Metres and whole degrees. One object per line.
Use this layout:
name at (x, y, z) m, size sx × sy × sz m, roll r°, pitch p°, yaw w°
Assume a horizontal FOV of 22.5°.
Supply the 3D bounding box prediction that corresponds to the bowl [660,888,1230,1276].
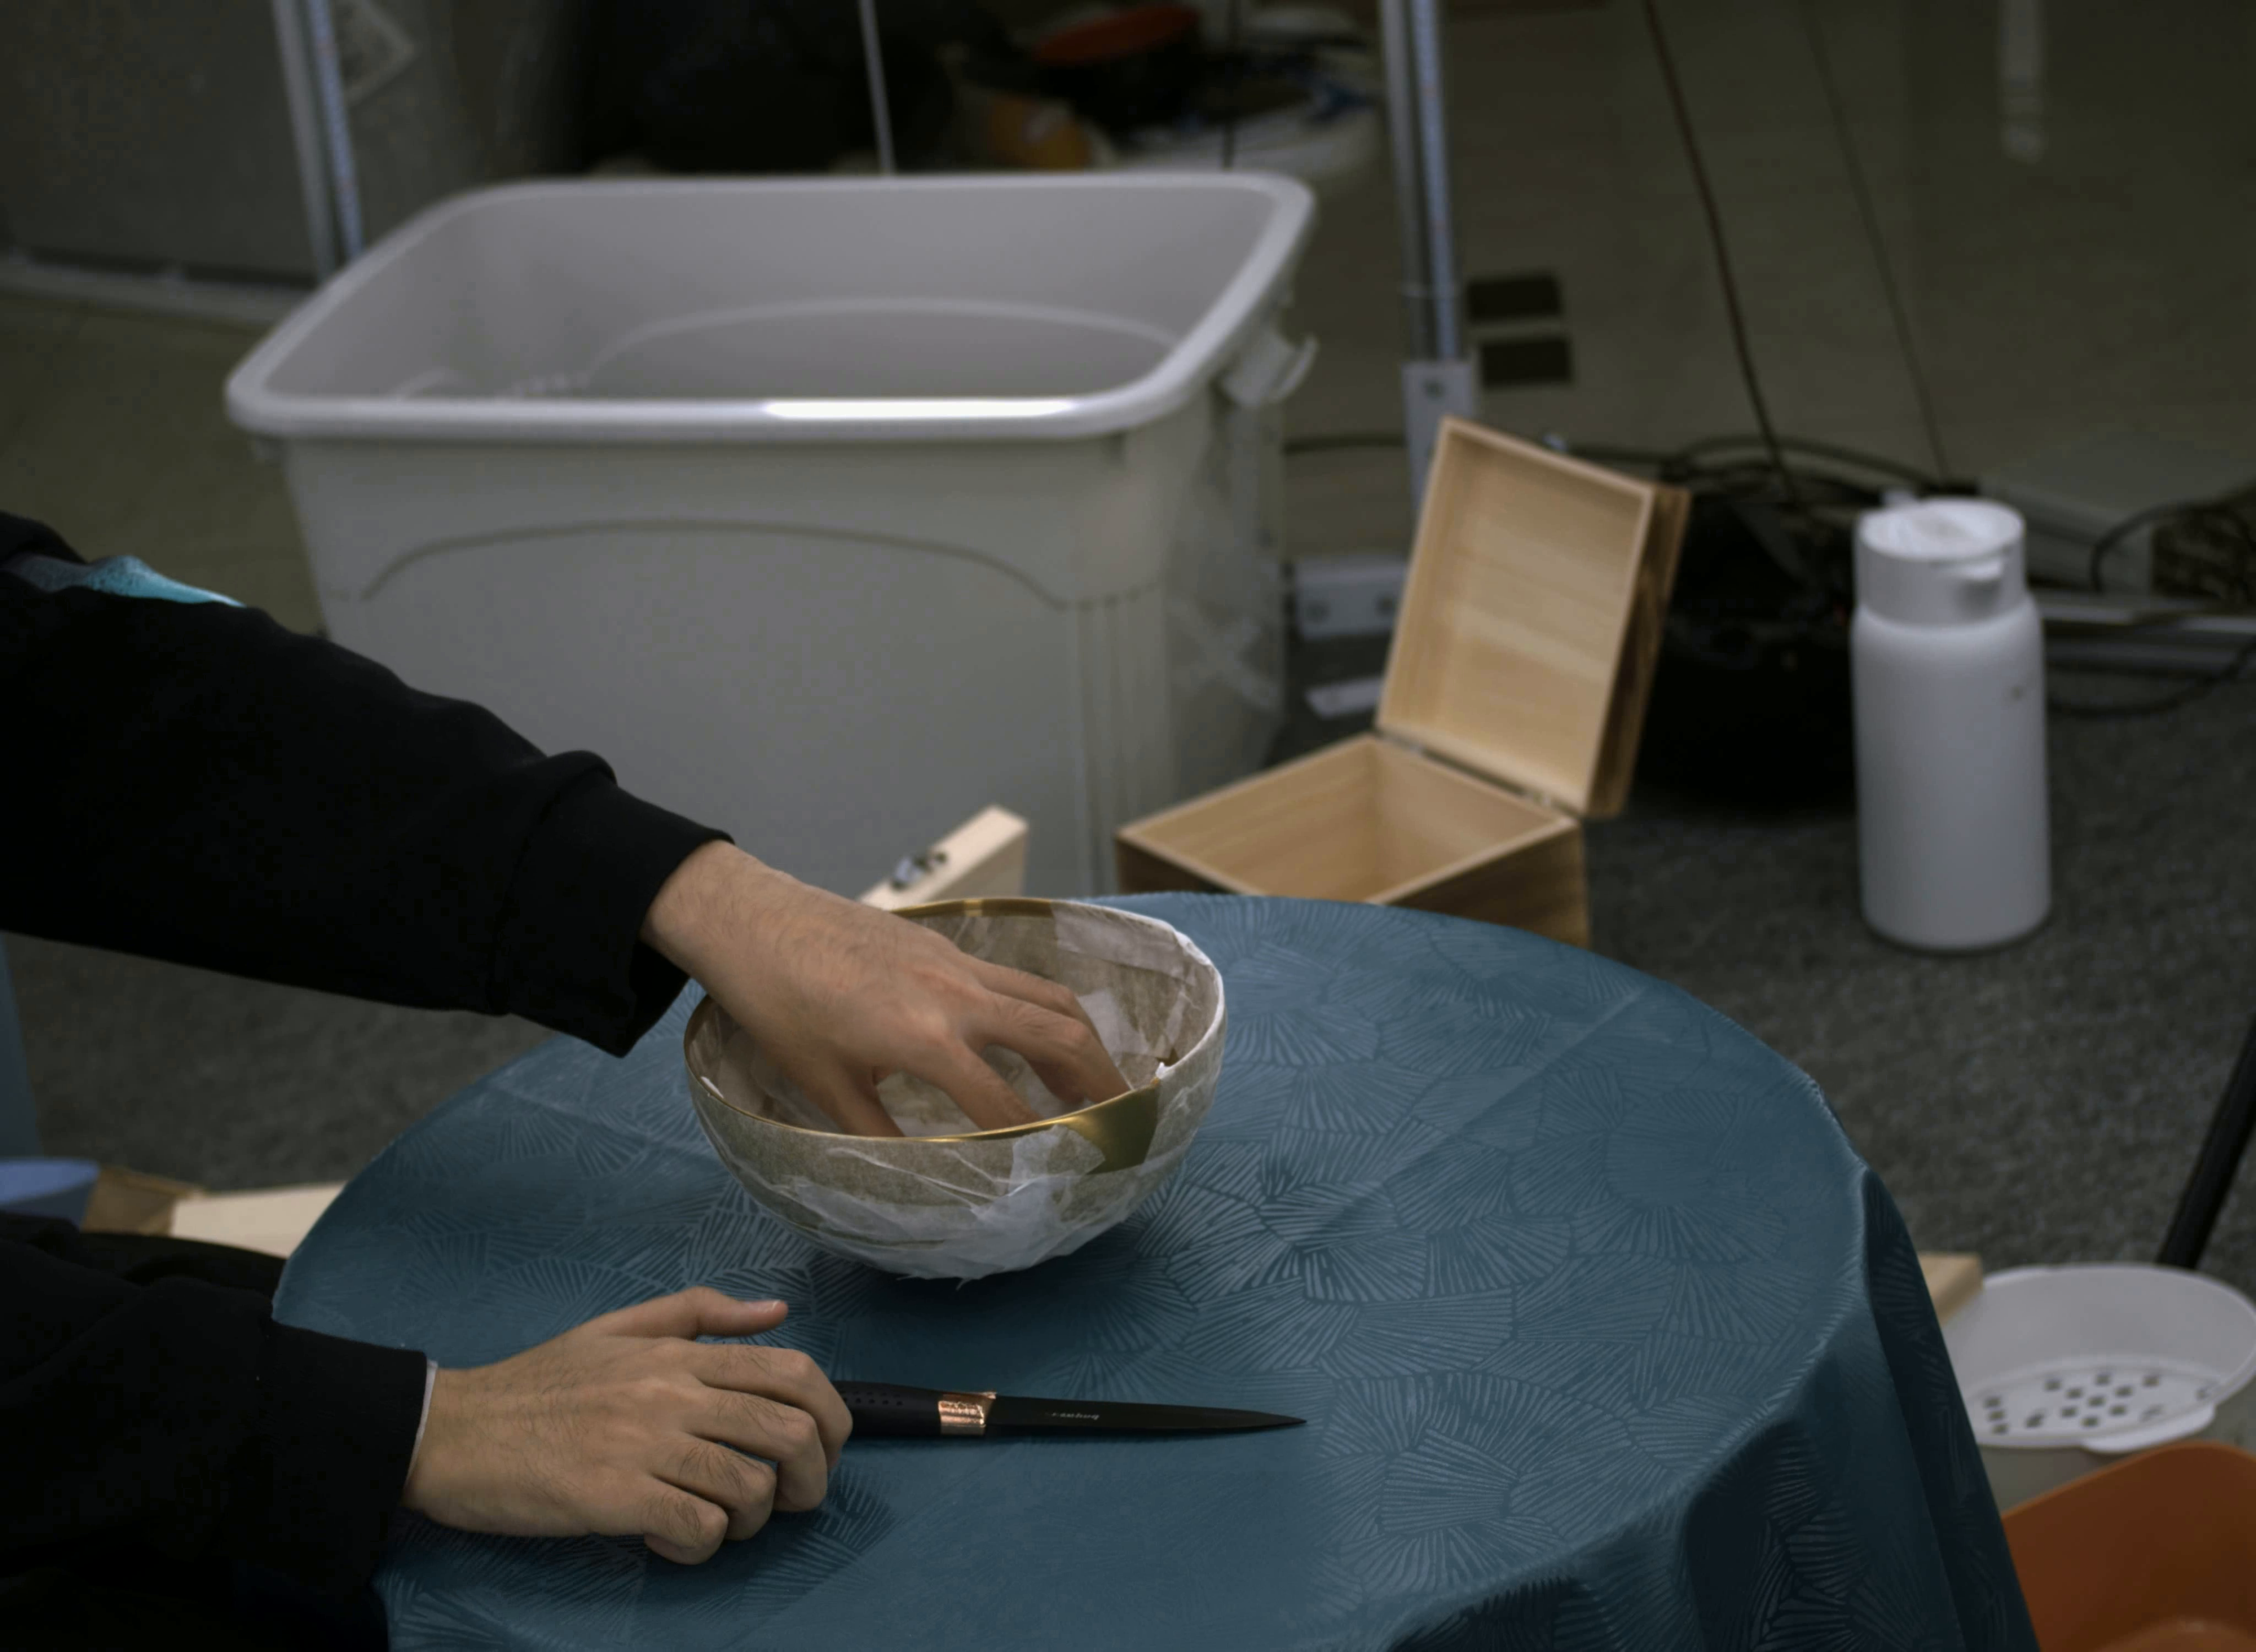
bowl at (-0.064, 0.108, 2.115) m, size 0.214 × 0.096 × 0.211 m, roll -4°, pitch 26°, yaw 2°

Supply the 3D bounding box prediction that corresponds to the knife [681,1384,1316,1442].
knife at (-0.046, 0.206, 2.003) m, size 0.225 × 0.017 × 0.026 m, roll -2°, pitch 19°, yaw 8°
